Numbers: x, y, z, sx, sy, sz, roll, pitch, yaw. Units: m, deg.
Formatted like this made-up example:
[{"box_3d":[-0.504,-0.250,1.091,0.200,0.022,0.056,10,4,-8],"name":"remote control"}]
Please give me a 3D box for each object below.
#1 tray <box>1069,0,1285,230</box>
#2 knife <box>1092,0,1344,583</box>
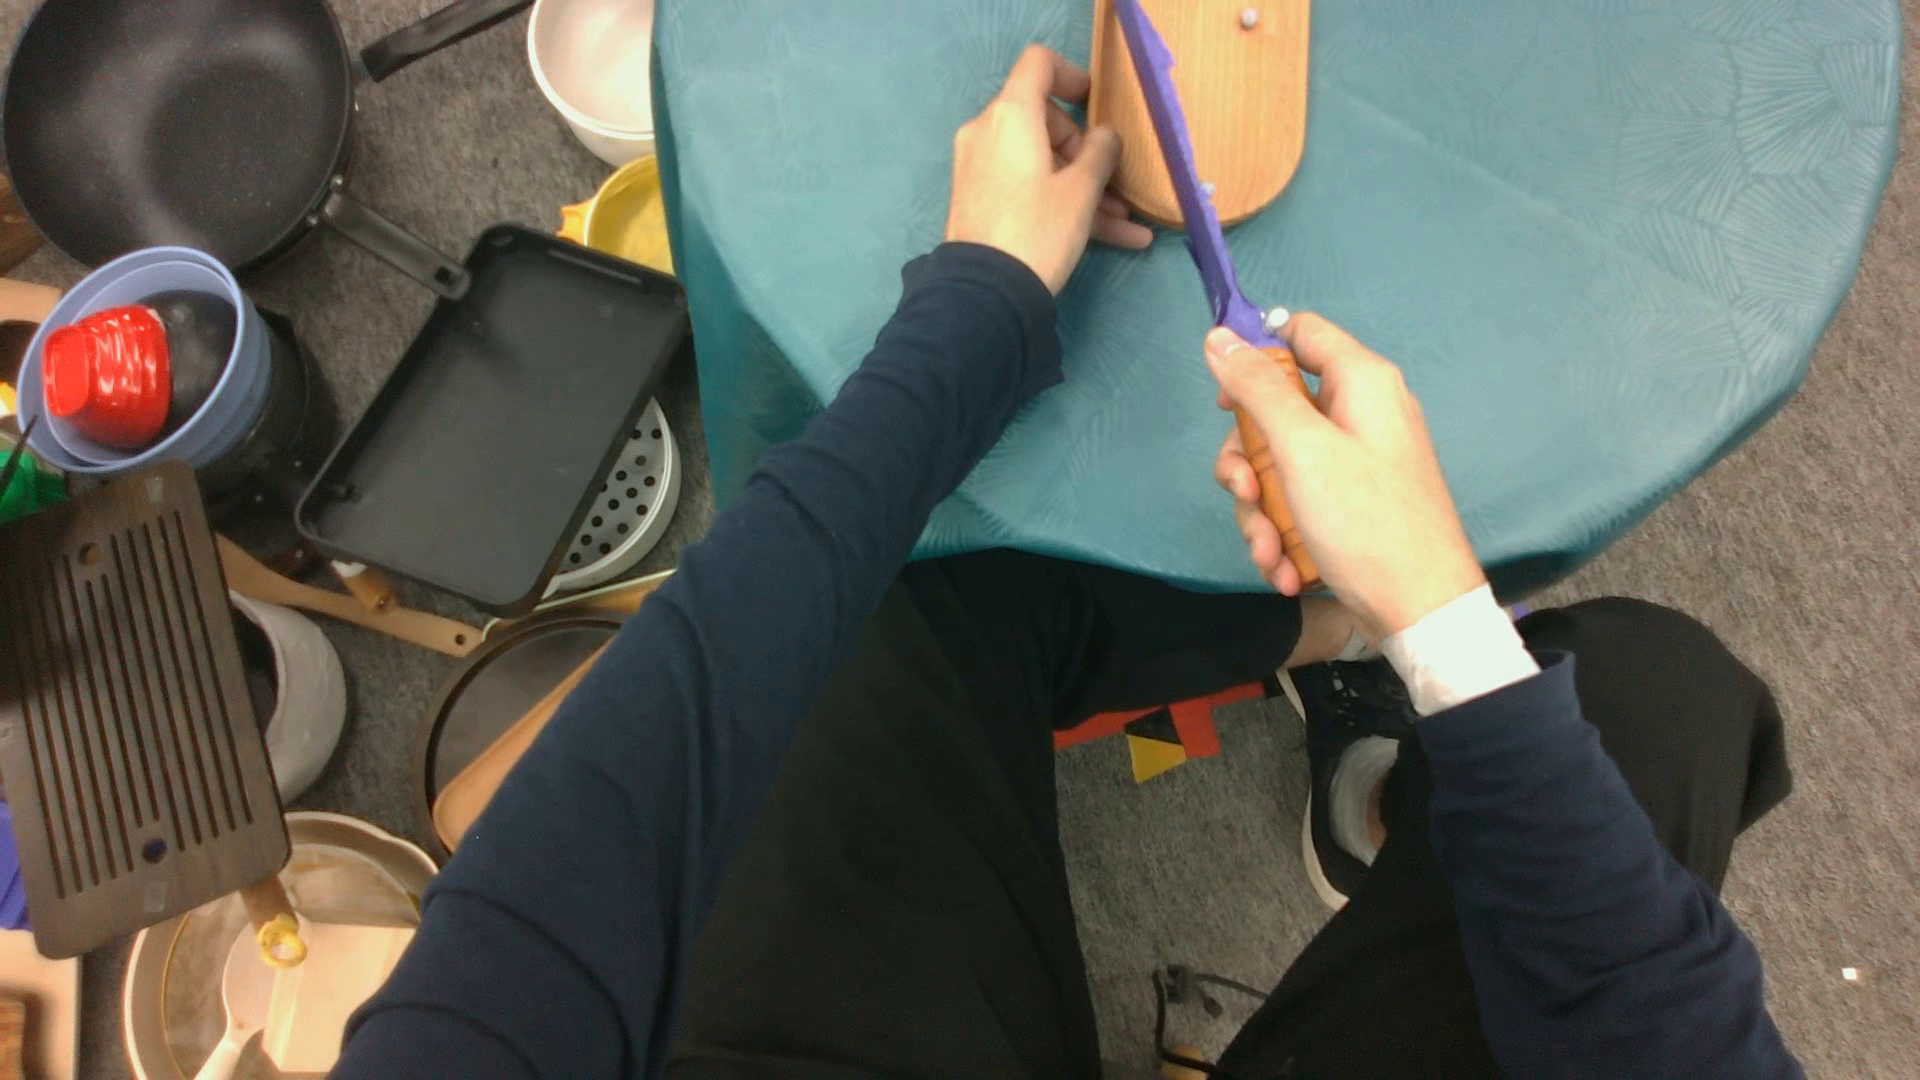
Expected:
[{"box_3d":[0.104,-0.256,0.662,0.101,0.020,0.231,3,78,0],"name":"tray"},{"box_3d":[0.097,-0.129,0.569,0.032,0.104,0.316,-15,75,6],"name":"knife"}]
